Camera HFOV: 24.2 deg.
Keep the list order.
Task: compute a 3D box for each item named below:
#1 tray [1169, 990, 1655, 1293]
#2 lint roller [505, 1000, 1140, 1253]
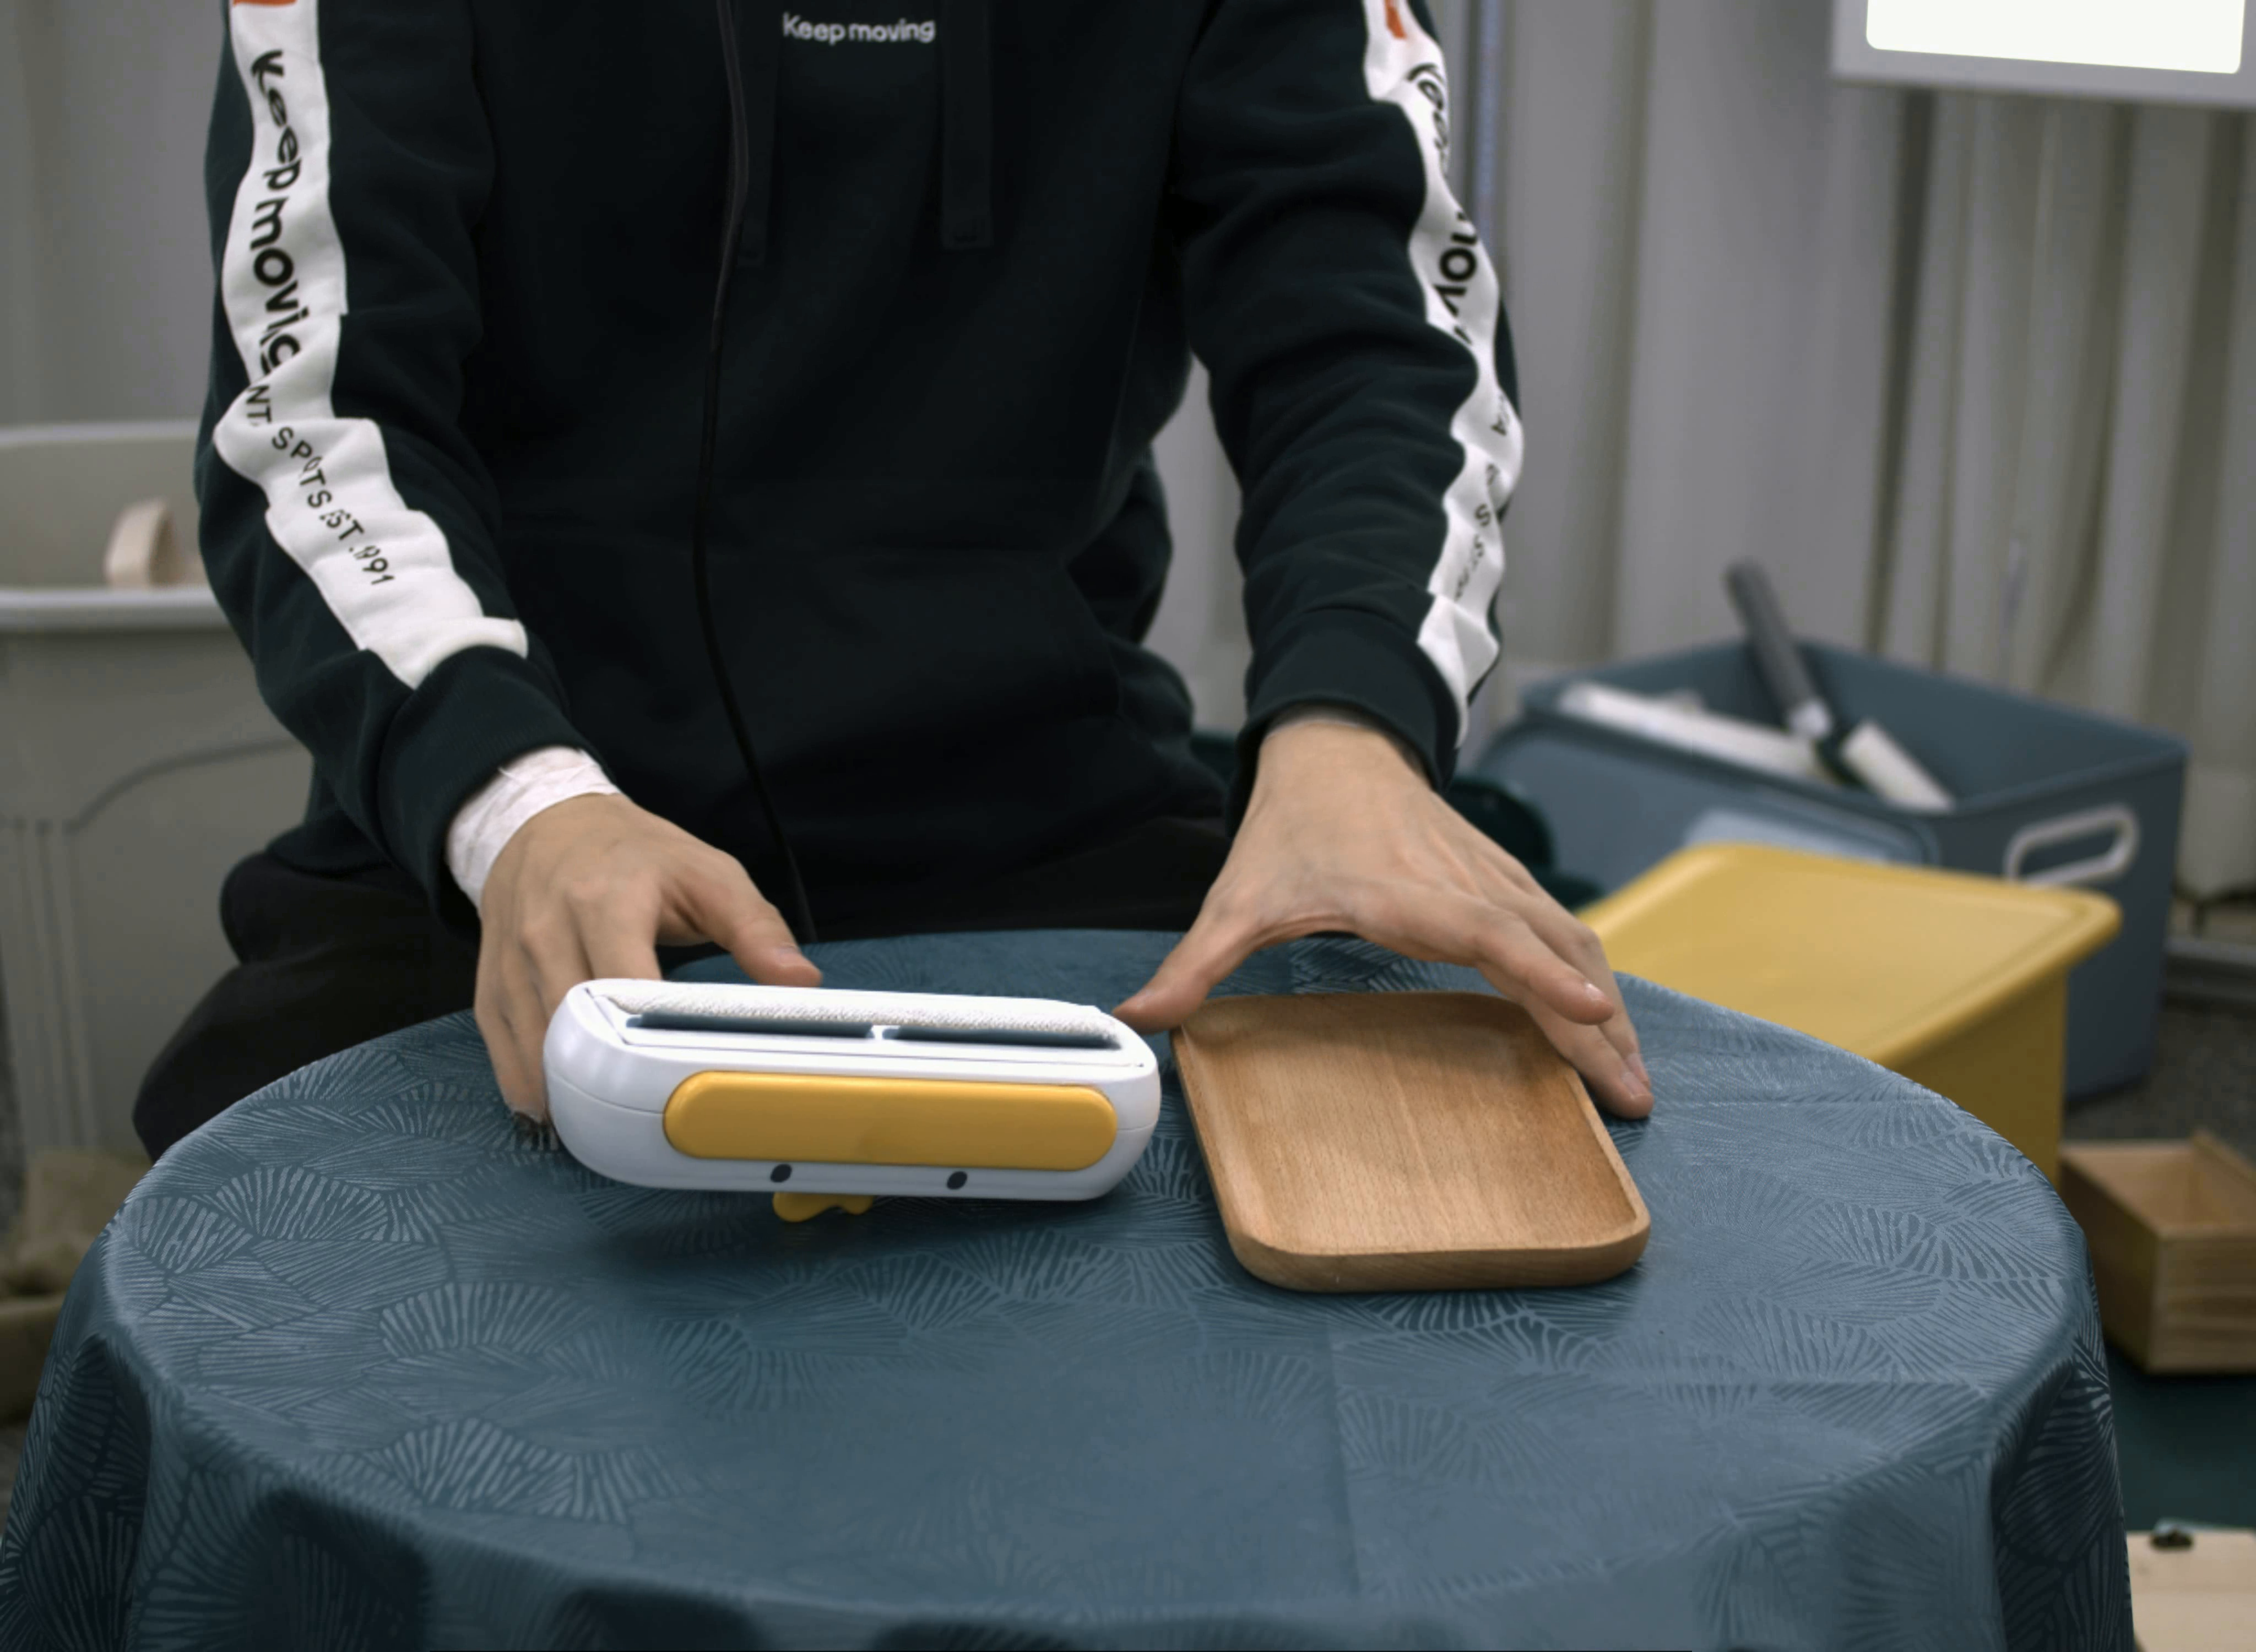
[{"bbox_3d":[0.084,0.096,1.650,0.130,0.023,0.249,1,15,-5],"label":"tray"},{"bbox_3d":[-0.110,0.092,1.633,0.193,0.074,0.191,2,-1,-20],"label":"lint roller"}]
